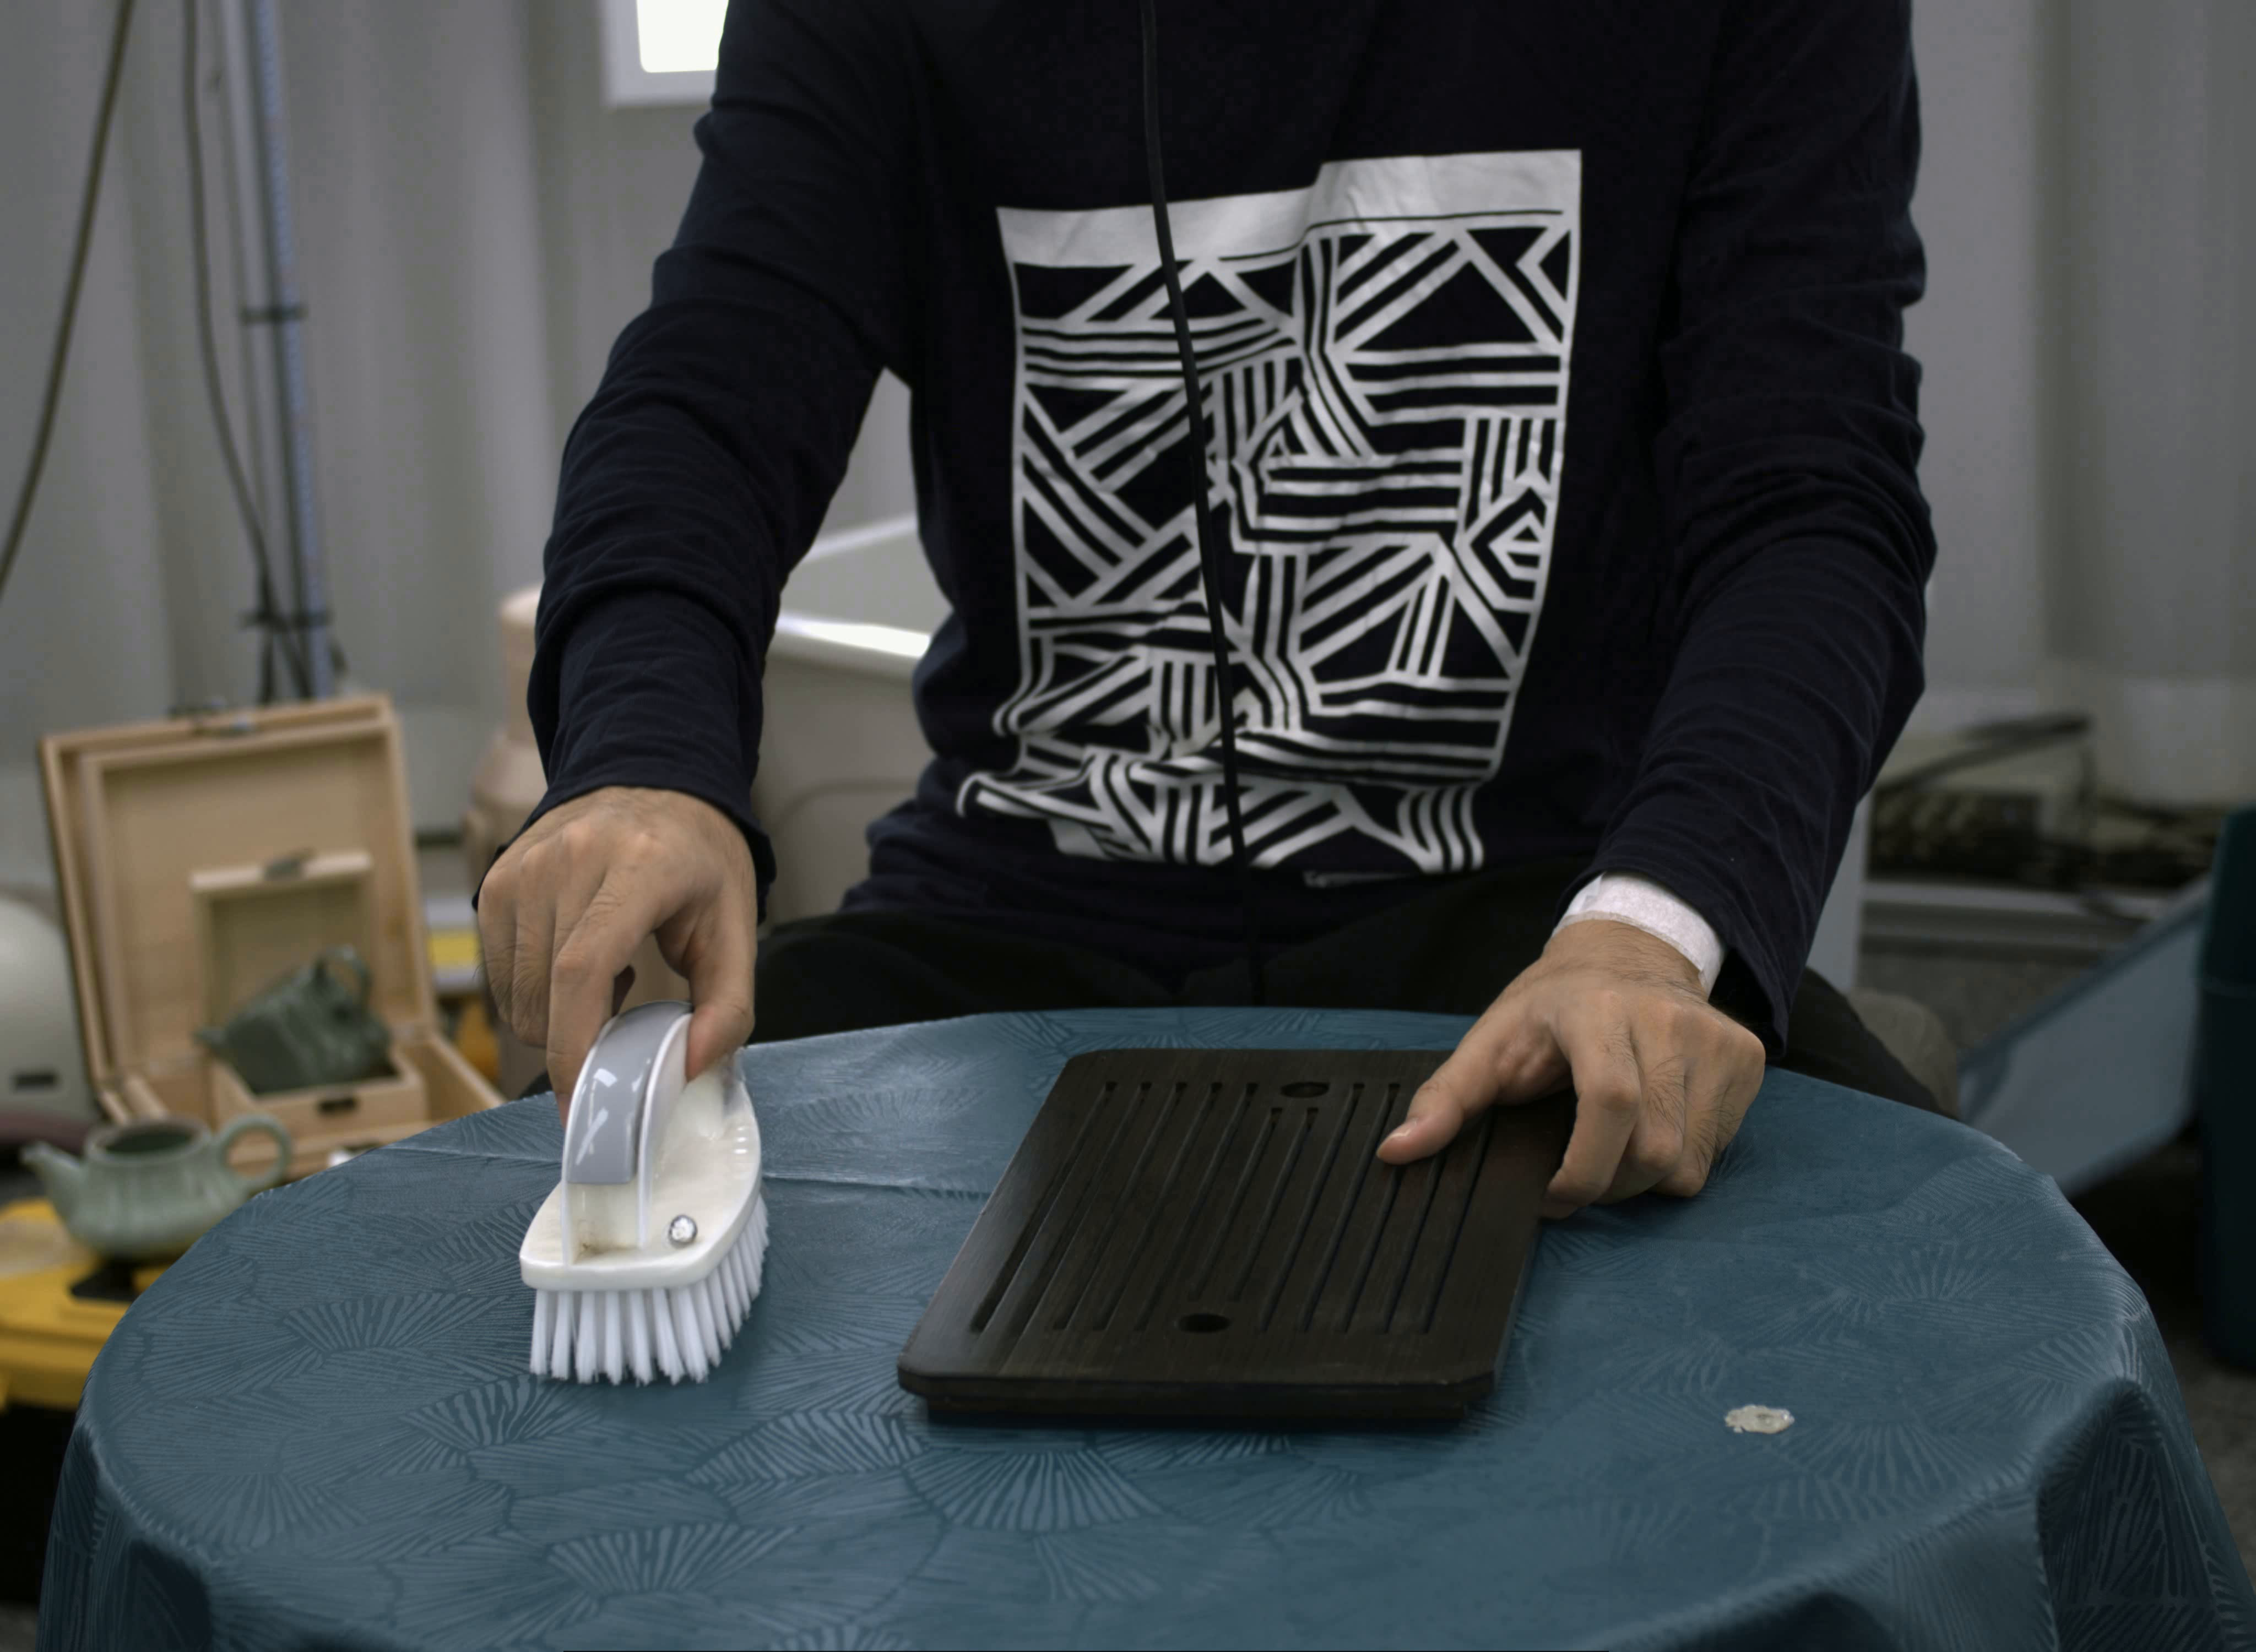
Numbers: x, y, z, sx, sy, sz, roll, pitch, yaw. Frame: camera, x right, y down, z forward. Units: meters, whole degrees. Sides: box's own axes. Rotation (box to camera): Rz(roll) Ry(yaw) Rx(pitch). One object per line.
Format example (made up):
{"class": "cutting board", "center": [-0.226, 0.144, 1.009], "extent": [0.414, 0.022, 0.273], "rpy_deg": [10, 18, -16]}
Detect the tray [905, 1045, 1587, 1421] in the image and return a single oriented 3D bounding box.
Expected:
{"class": "tray", "center": [0.044, 0.120, 1.651], "extent": [0.170, 0.018, 0.307], "rpy_deg": [0, 15, 10]}

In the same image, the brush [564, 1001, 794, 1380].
{"class": "brush", "center": [-0.129, 0.097, 1.639], "extent": [0.061, 0.094, 0.176], "rpy_deg": [-3, 14, 6]}
